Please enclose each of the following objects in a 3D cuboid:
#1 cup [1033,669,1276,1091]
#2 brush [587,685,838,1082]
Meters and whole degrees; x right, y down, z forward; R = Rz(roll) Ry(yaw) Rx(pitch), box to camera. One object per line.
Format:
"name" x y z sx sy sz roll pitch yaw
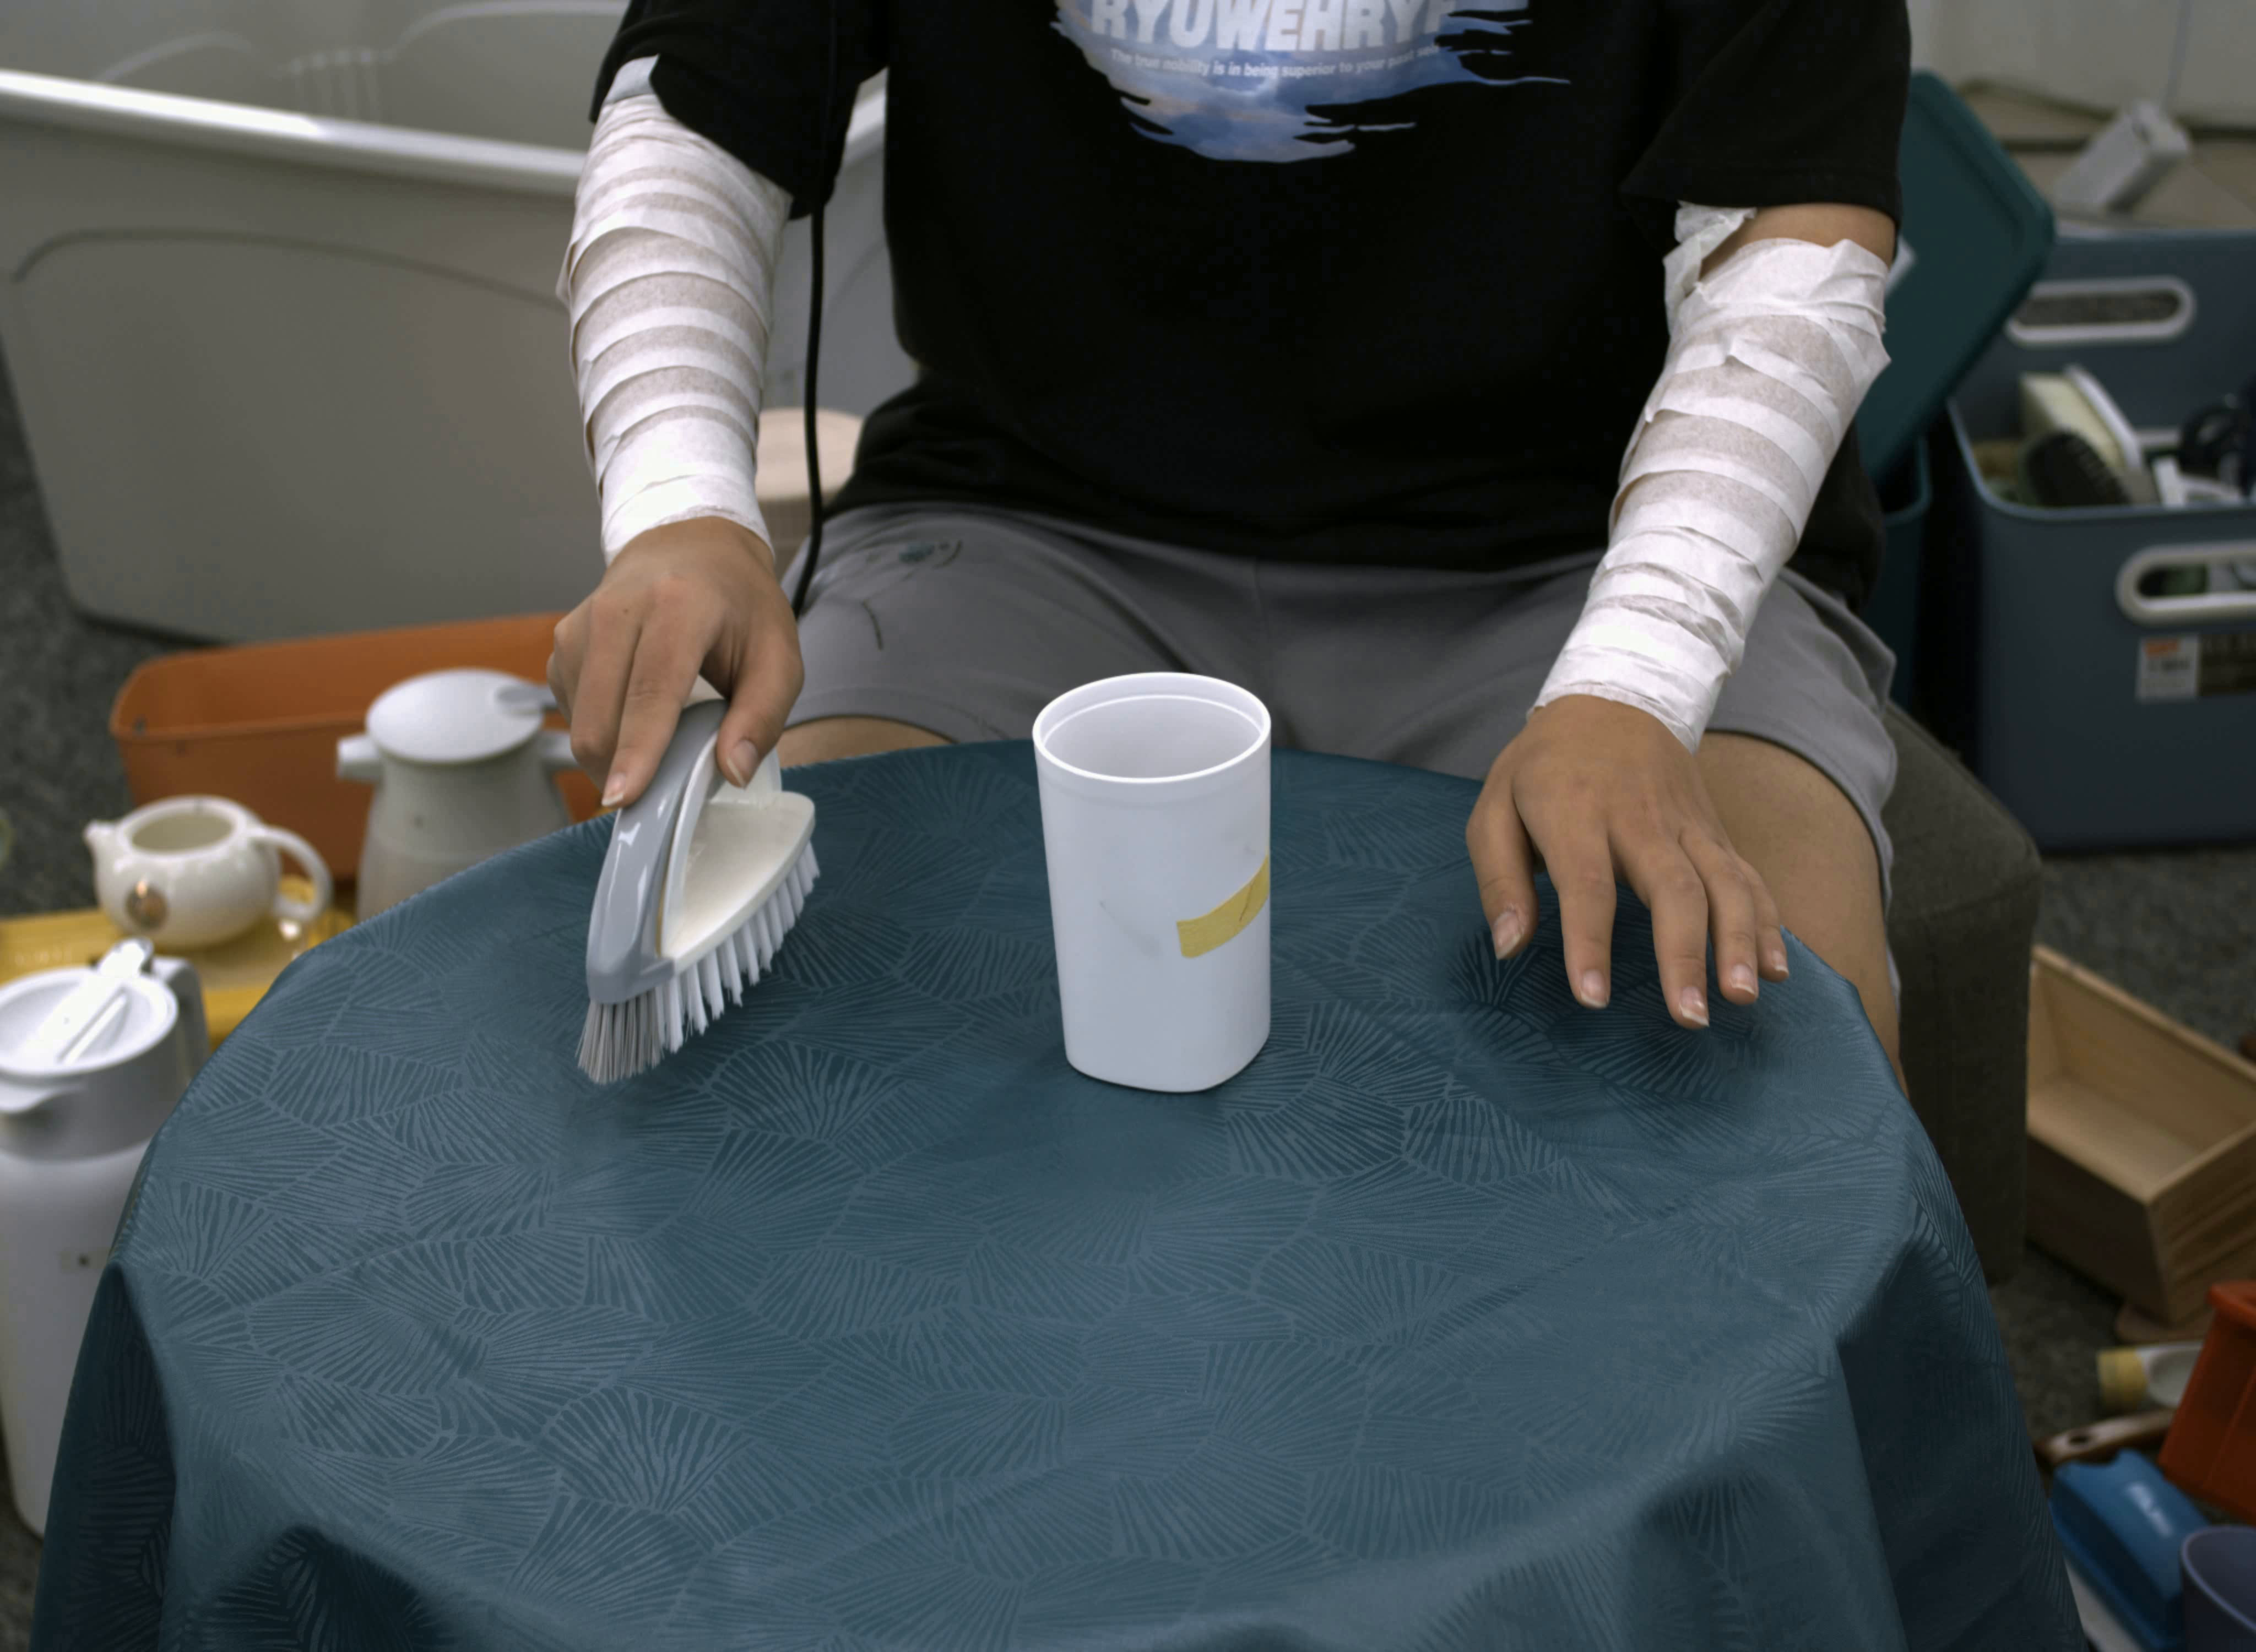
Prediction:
"cup" 0.013 0.020 1.922 0.081 0.124 0.083 -3 27 2
"brush" -0.154 0.013 1.959 0.061 0.093 0.178 0 26 16
